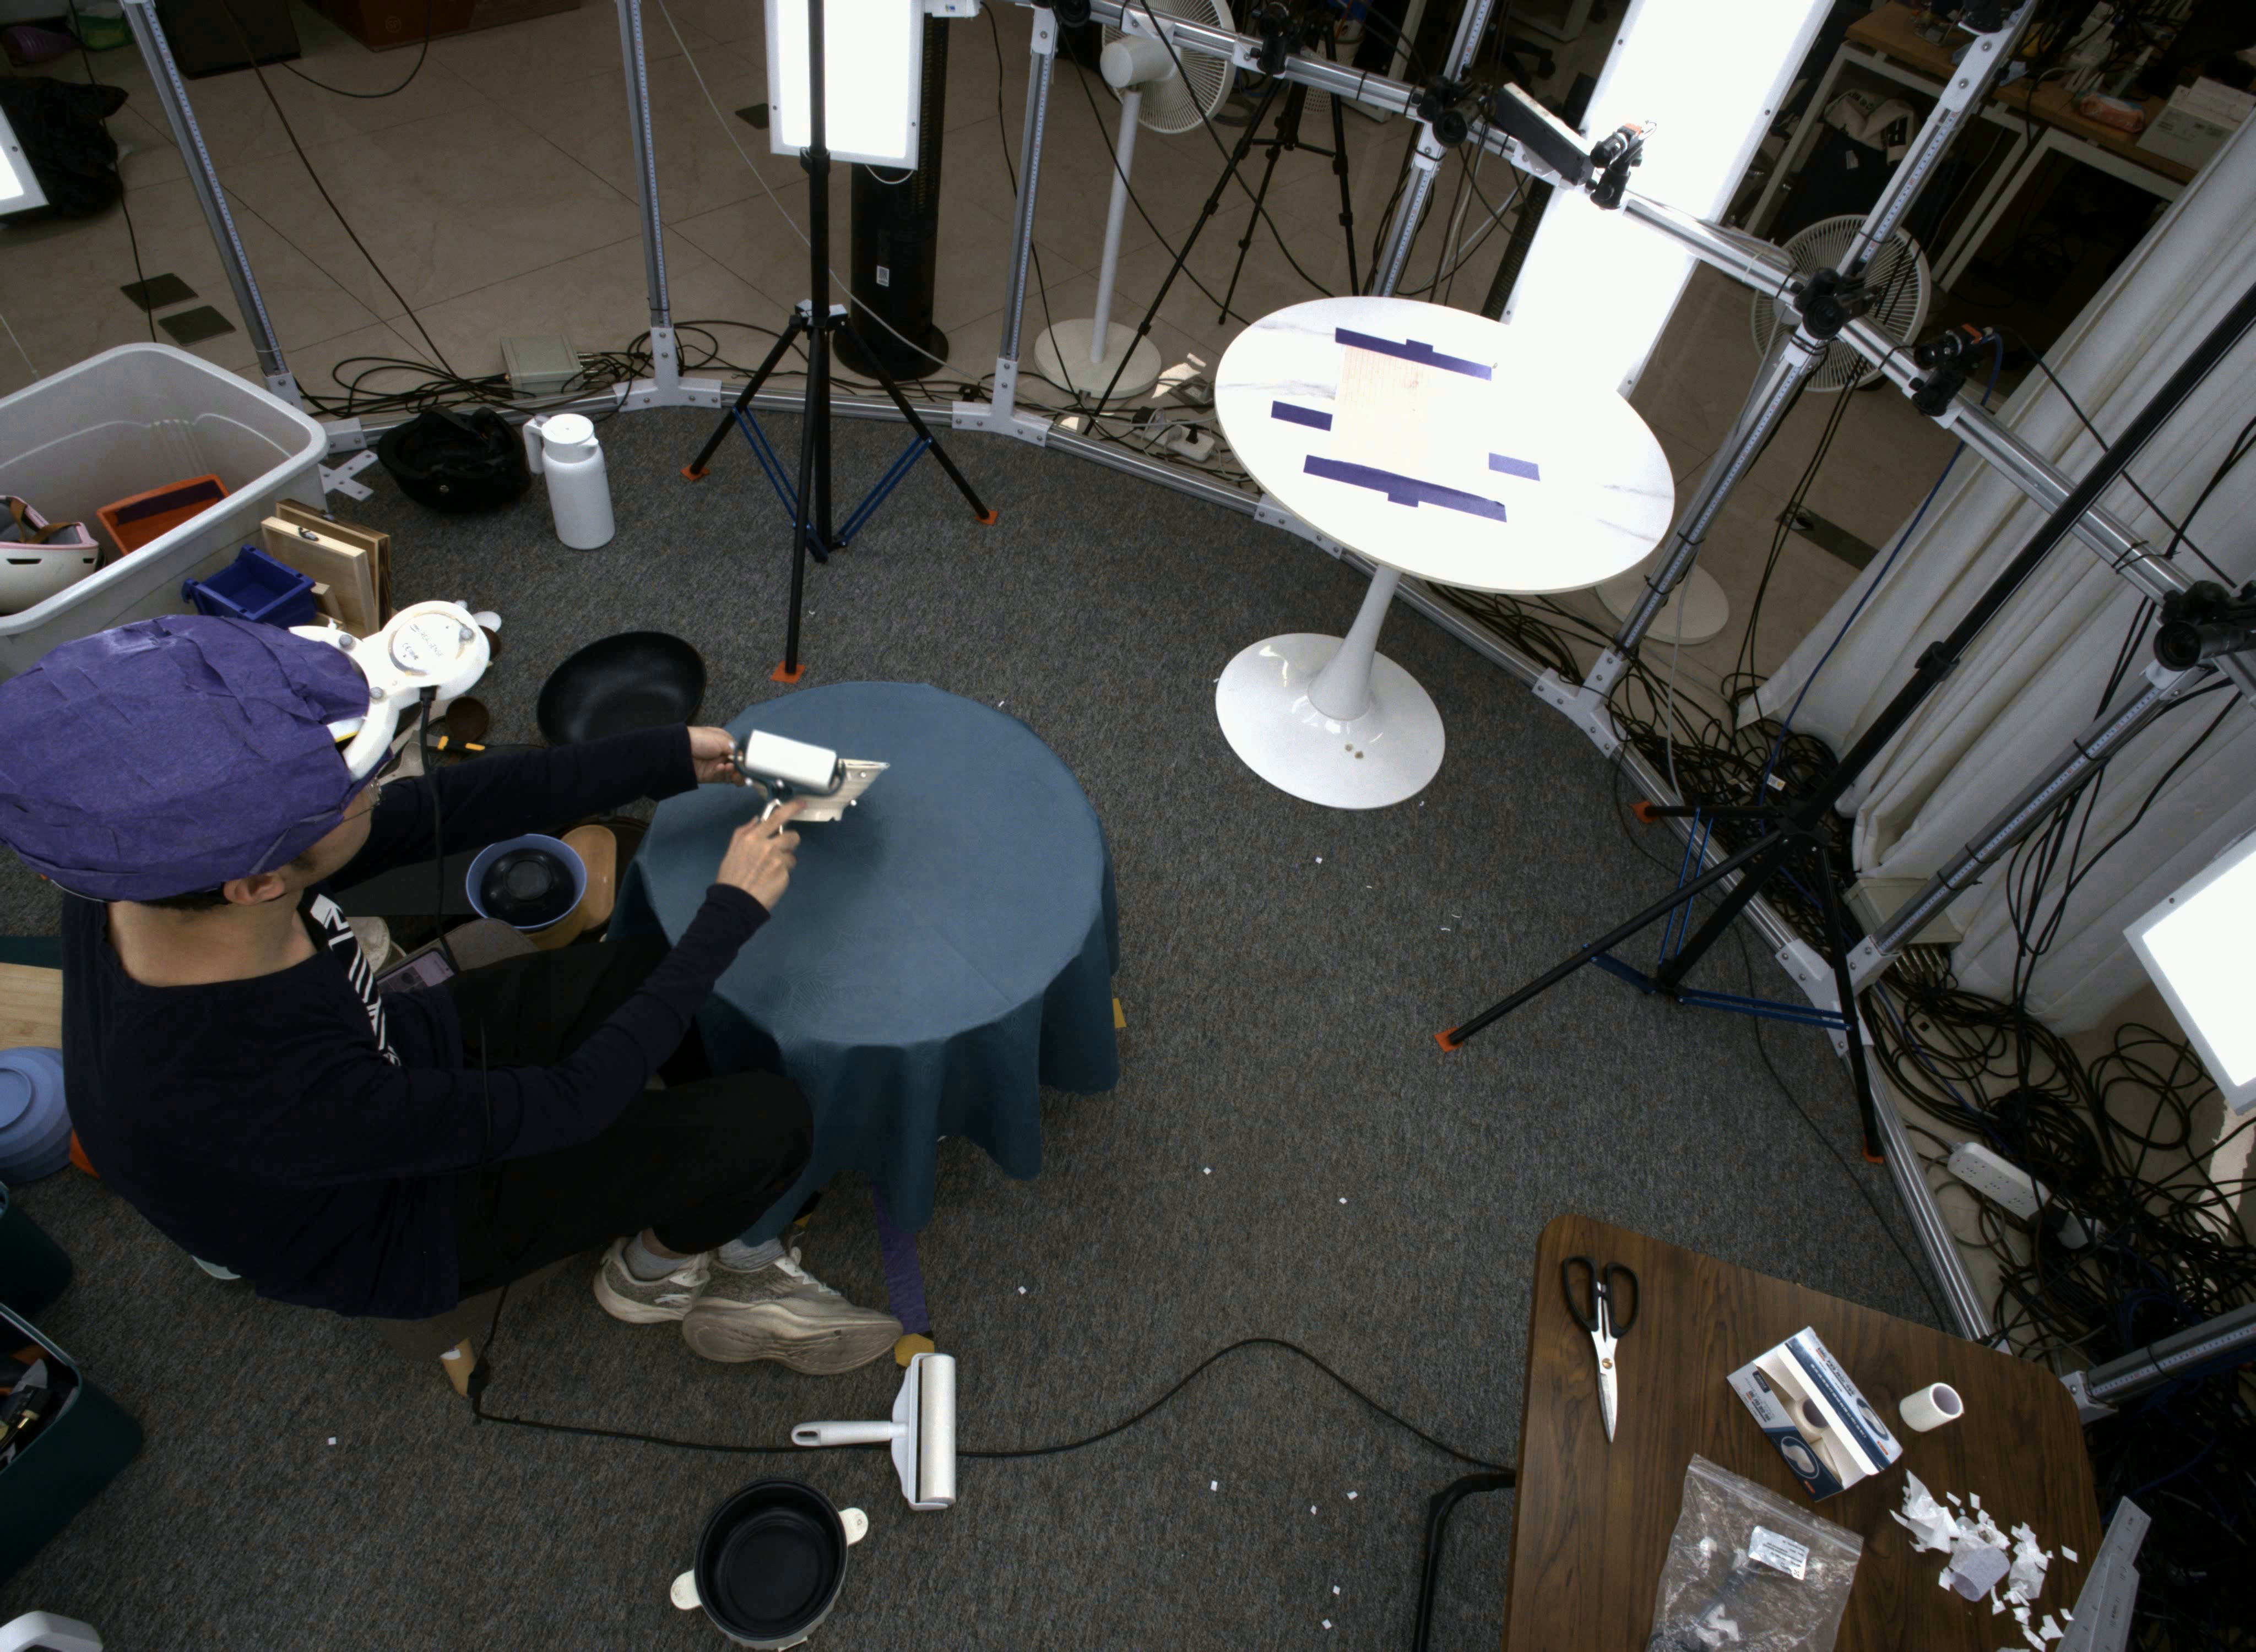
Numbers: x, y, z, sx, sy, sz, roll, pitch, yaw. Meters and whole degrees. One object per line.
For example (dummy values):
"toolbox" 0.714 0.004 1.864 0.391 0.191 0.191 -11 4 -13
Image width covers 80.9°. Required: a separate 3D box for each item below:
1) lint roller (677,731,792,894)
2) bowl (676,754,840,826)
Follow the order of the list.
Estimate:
"lint roller" -0.469 -0.015 1.492 0.135 0.048 0.179 11 71 -13
"bowl" -0.465 -0.043 1.634 0.204 0.201 0.079 -3 88 -15
